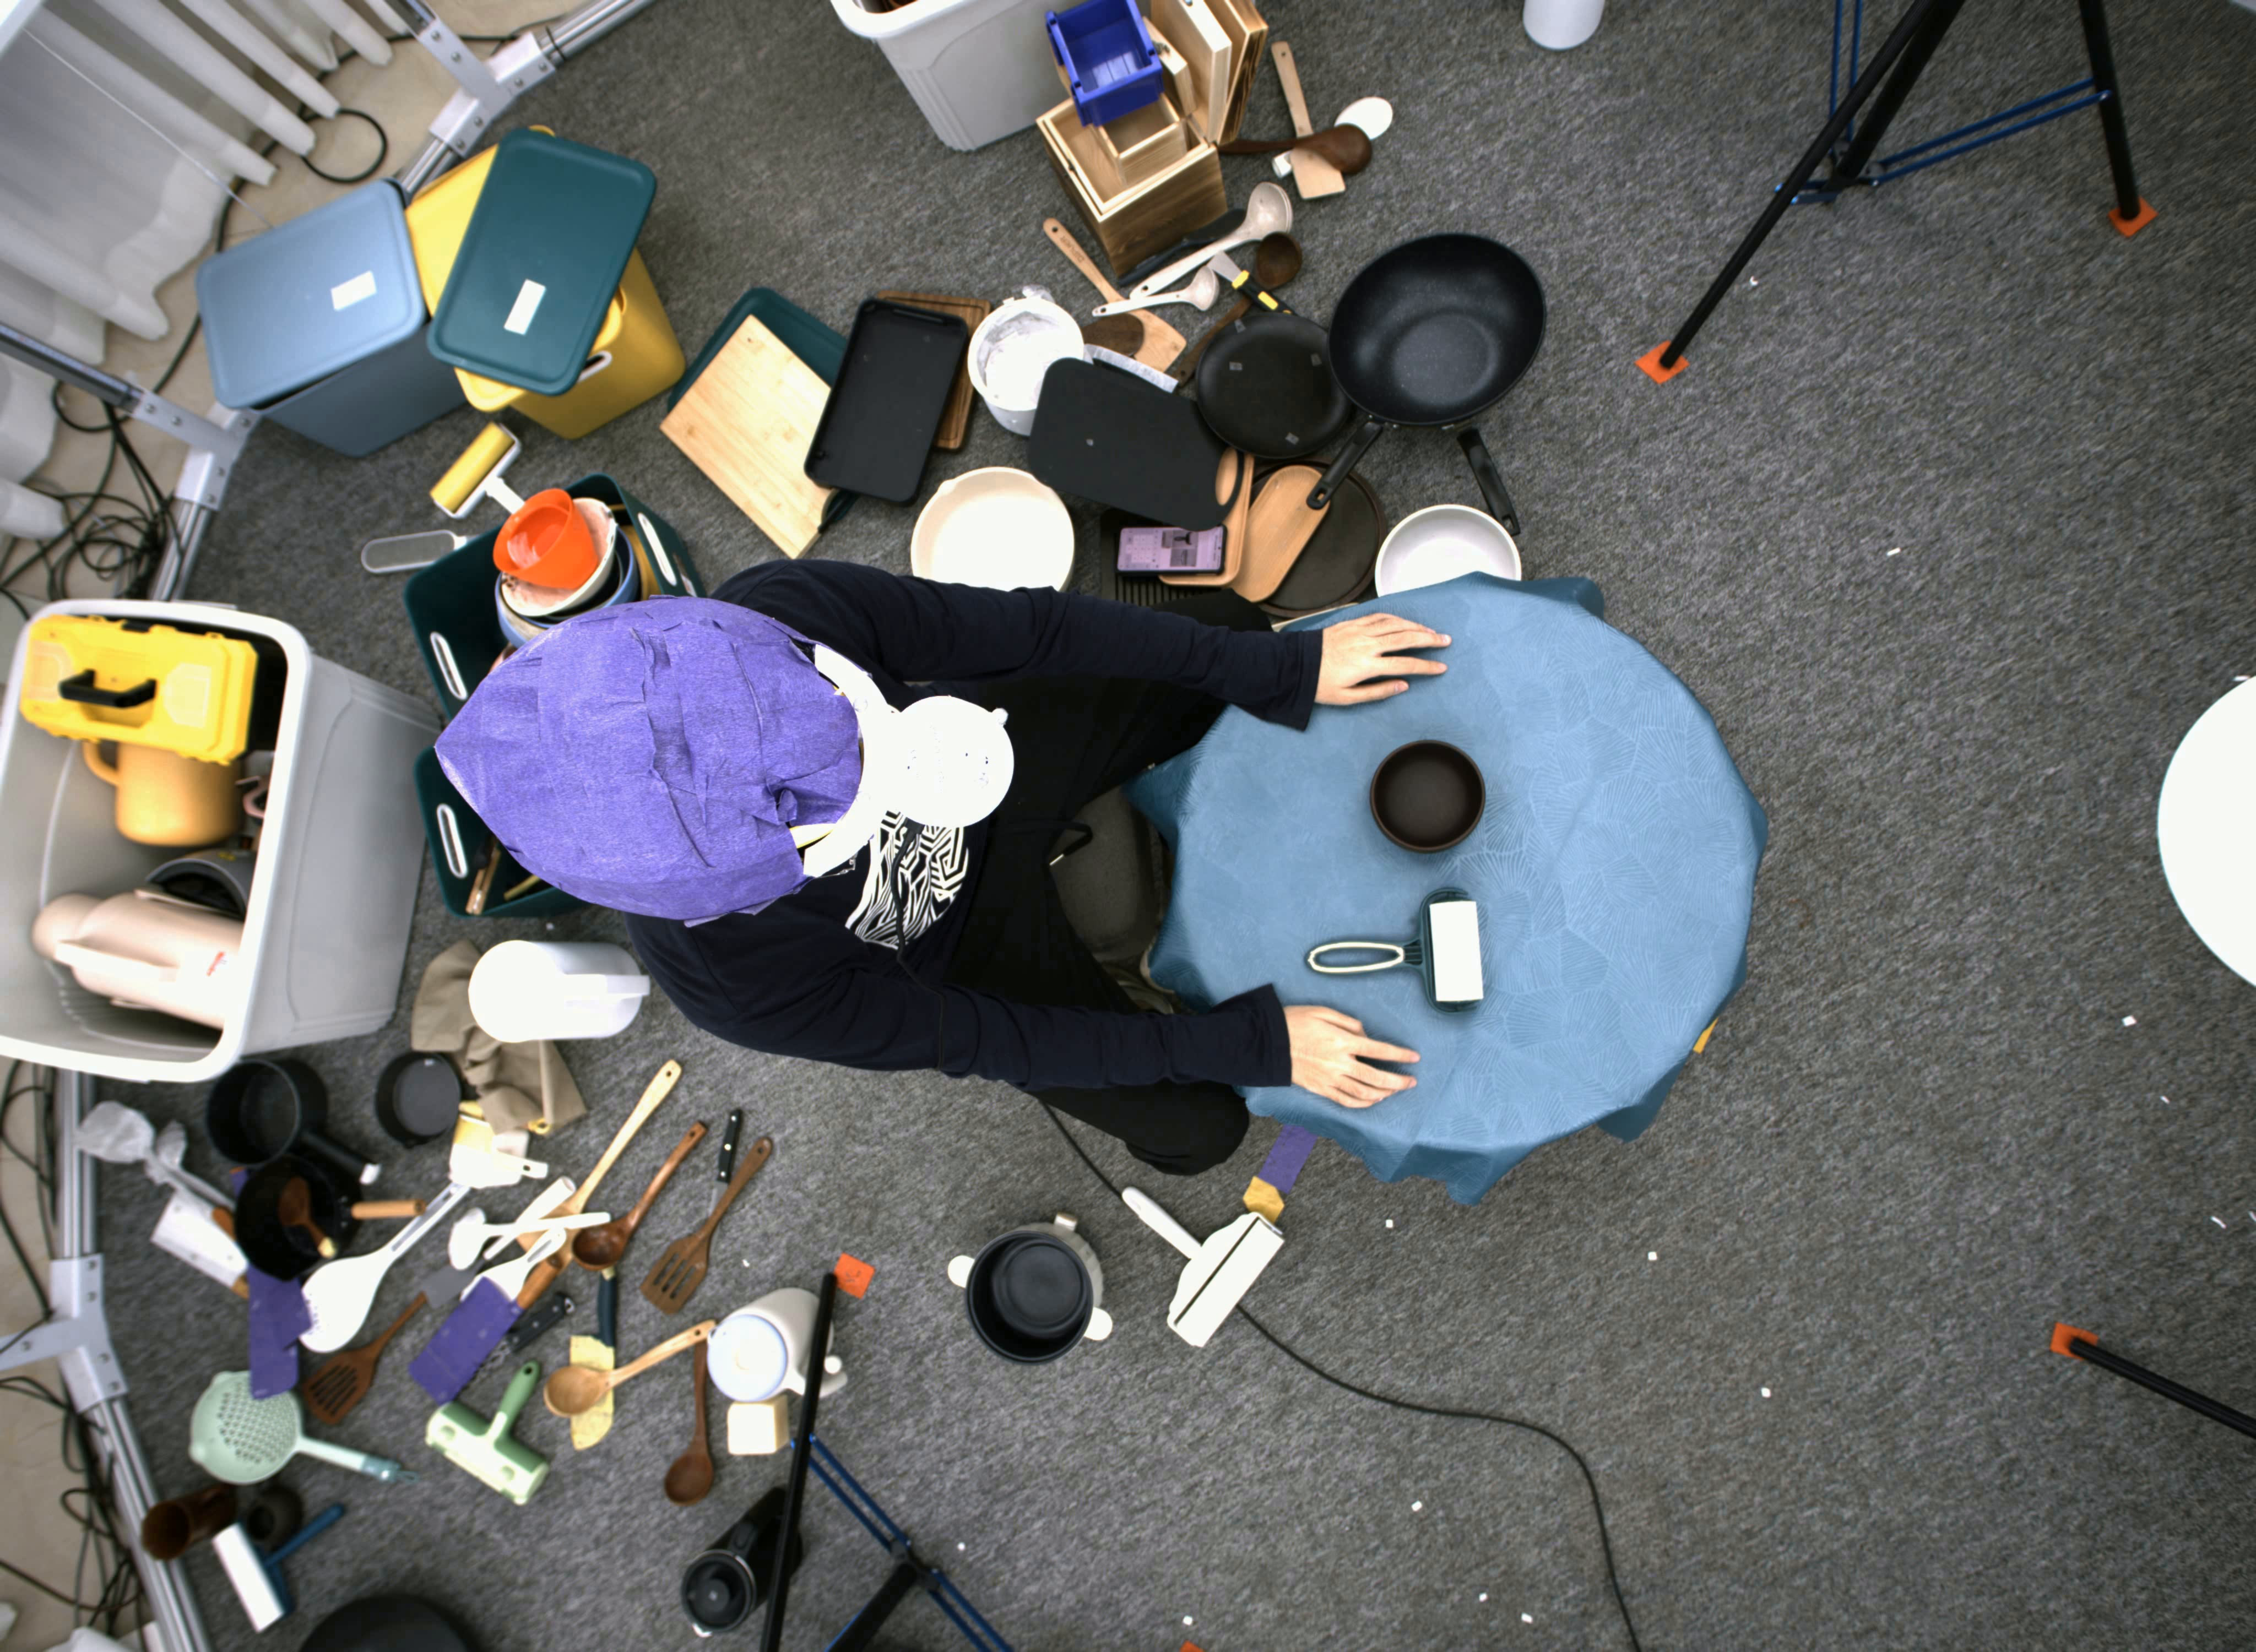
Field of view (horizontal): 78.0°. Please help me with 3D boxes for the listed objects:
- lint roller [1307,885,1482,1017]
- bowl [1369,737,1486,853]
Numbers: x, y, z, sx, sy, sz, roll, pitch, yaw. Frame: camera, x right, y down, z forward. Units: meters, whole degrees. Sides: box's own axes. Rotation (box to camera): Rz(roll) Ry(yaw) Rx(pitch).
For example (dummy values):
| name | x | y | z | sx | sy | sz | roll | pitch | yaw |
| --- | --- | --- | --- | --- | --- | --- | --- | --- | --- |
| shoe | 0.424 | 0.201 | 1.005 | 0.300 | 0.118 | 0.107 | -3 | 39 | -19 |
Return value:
| name | x | y | z | sx | sy | sz | roll | pitch | yaw |
| --- | --- | --- | --- | --- | --- | --- | --- | --- | --- |
| lint roller | 0.273 | 0.133 | 1.437 | 0.181 | 0.048 | 0.134 | -5 | 86 | 15 |
| bowl | 0.309 | -0.032 | 1.422 | 0.118 | 0.070 | 0.117 | -1 | 87 | 12 |
